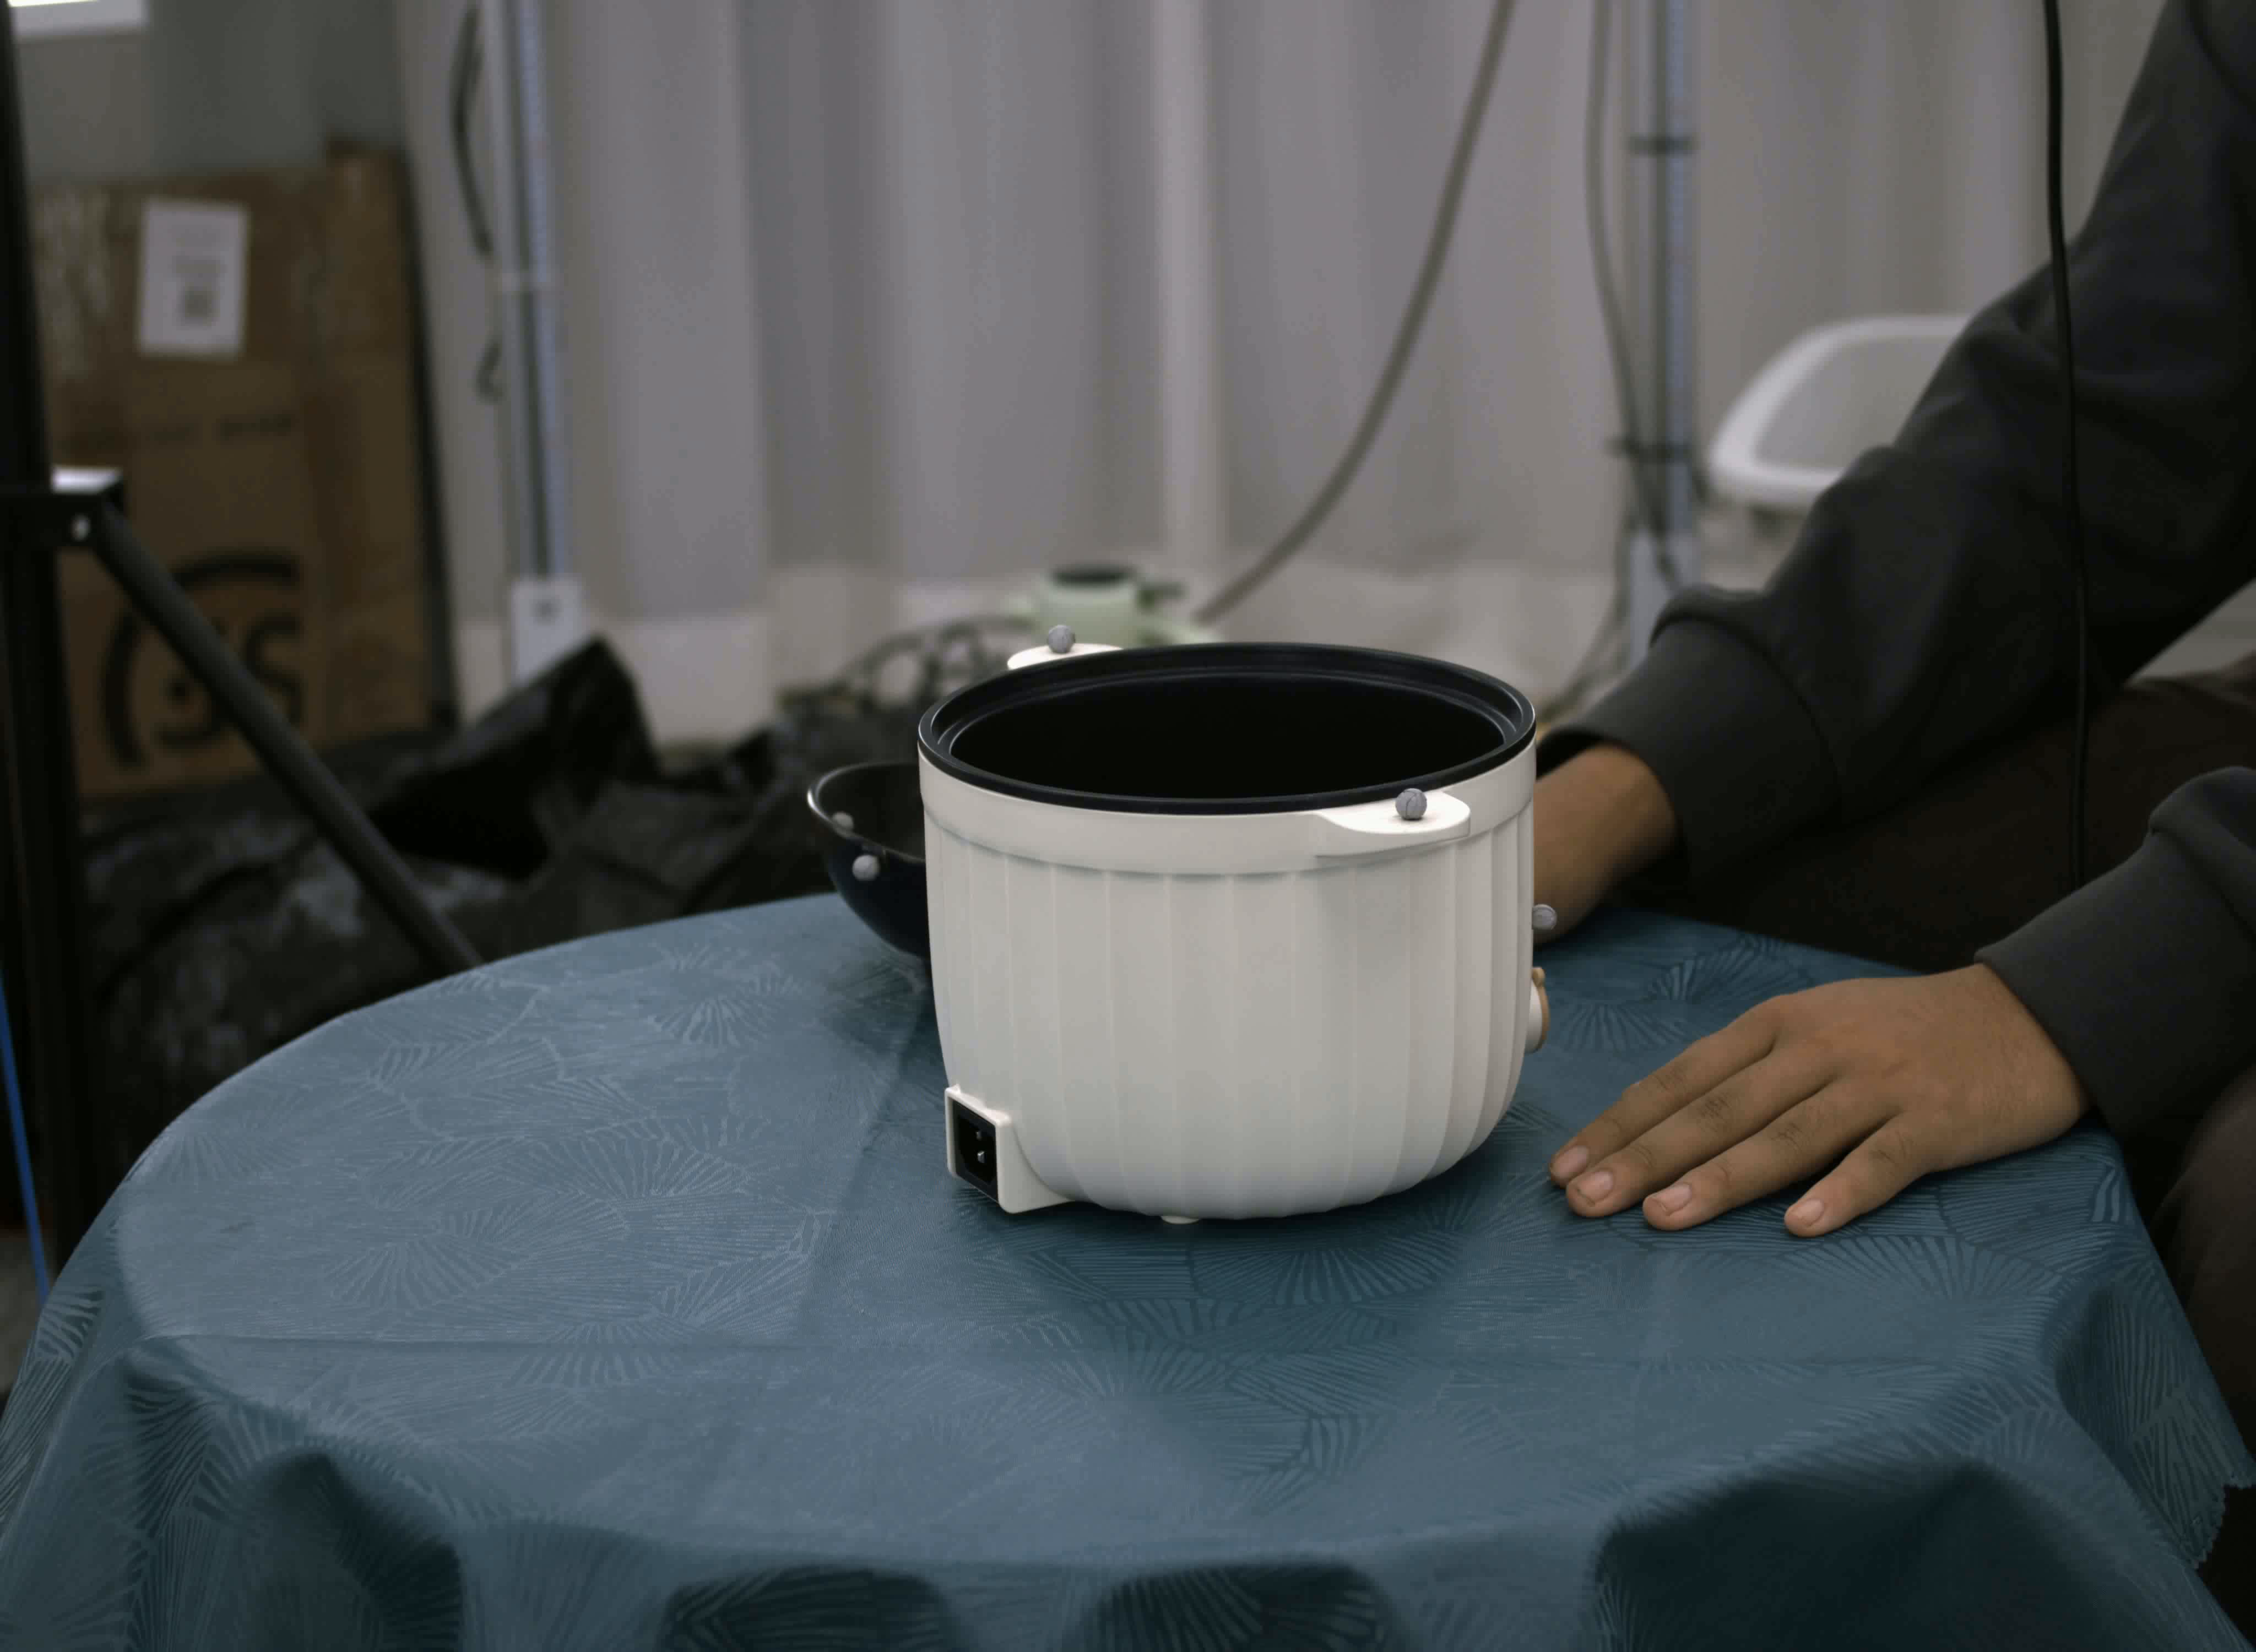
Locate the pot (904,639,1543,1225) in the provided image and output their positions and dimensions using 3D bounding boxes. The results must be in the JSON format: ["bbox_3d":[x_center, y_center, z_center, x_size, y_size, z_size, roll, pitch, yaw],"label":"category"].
[{"bbox_3d":[0.034,0.031,1.571,0.187,0.142,0.245,-13,20,-25],"label":"pot"}]

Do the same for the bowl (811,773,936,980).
[{"bbox_3d":[-0.036,0.018,1.763,0.136,0.067,0.172,-4,14,-6],"label":"bowl"}]
